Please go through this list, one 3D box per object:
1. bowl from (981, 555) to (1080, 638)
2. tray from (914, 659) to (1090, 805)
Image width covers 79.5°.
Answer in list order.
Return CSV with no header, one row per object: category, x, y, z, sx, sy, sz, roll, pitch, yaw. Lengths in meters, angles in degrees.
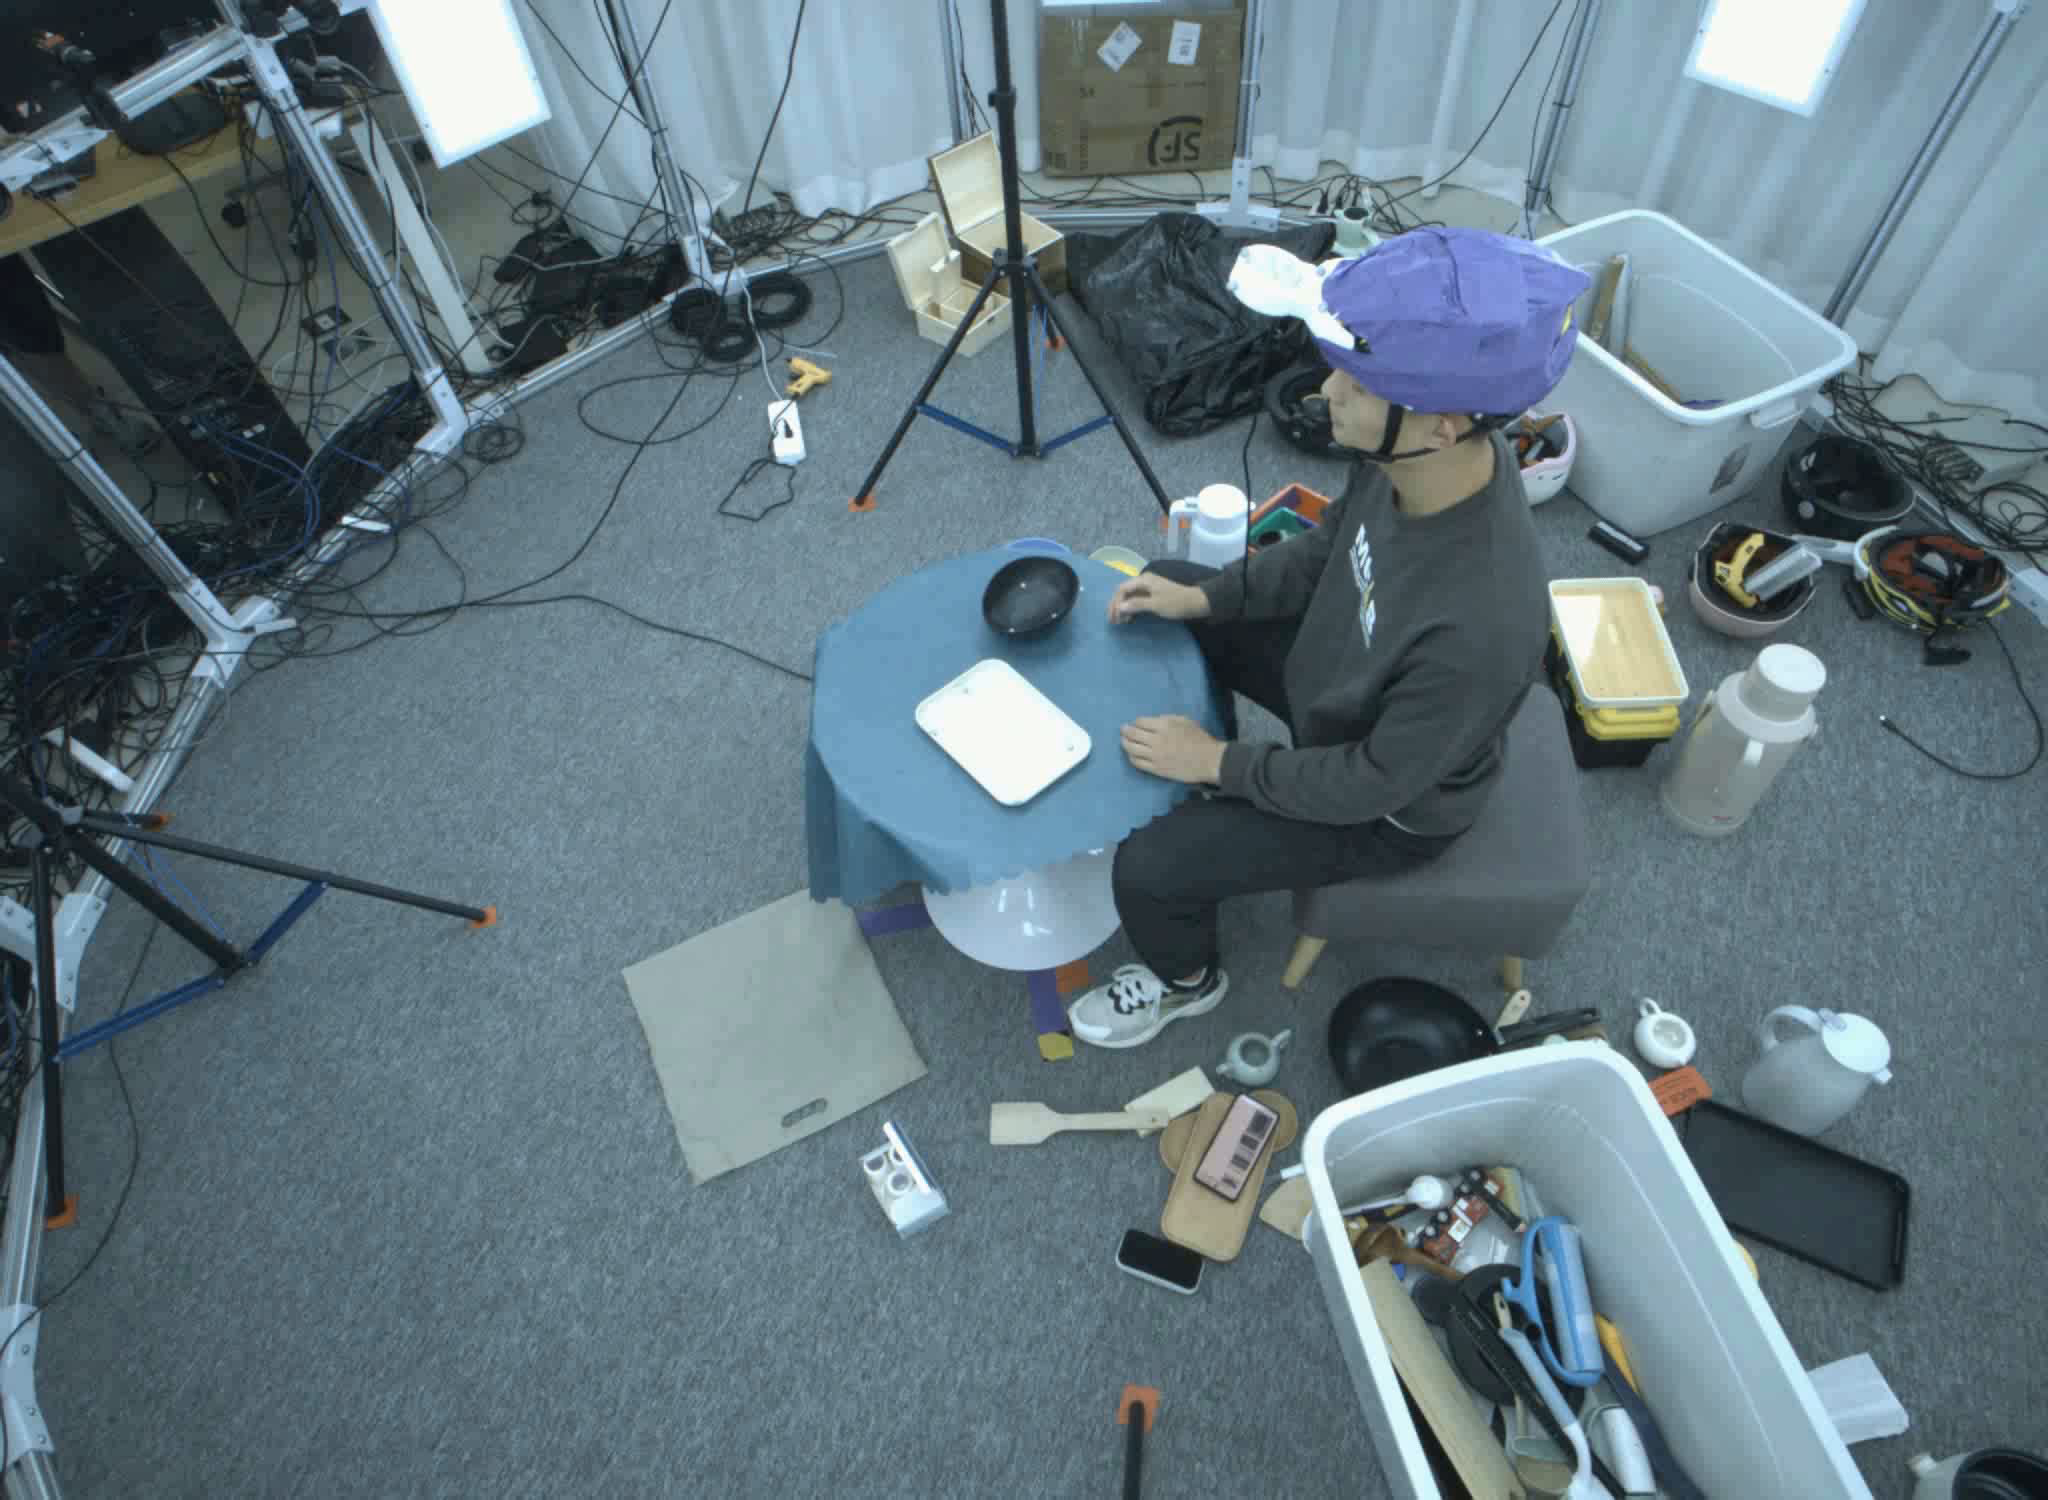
bowl,0.011,-0.226,1.908,0.135,0.067,0.171,34,64,25
tray,-0.033,-0.028,1.795,0.172,0.017,0.235,-36,61,-22
